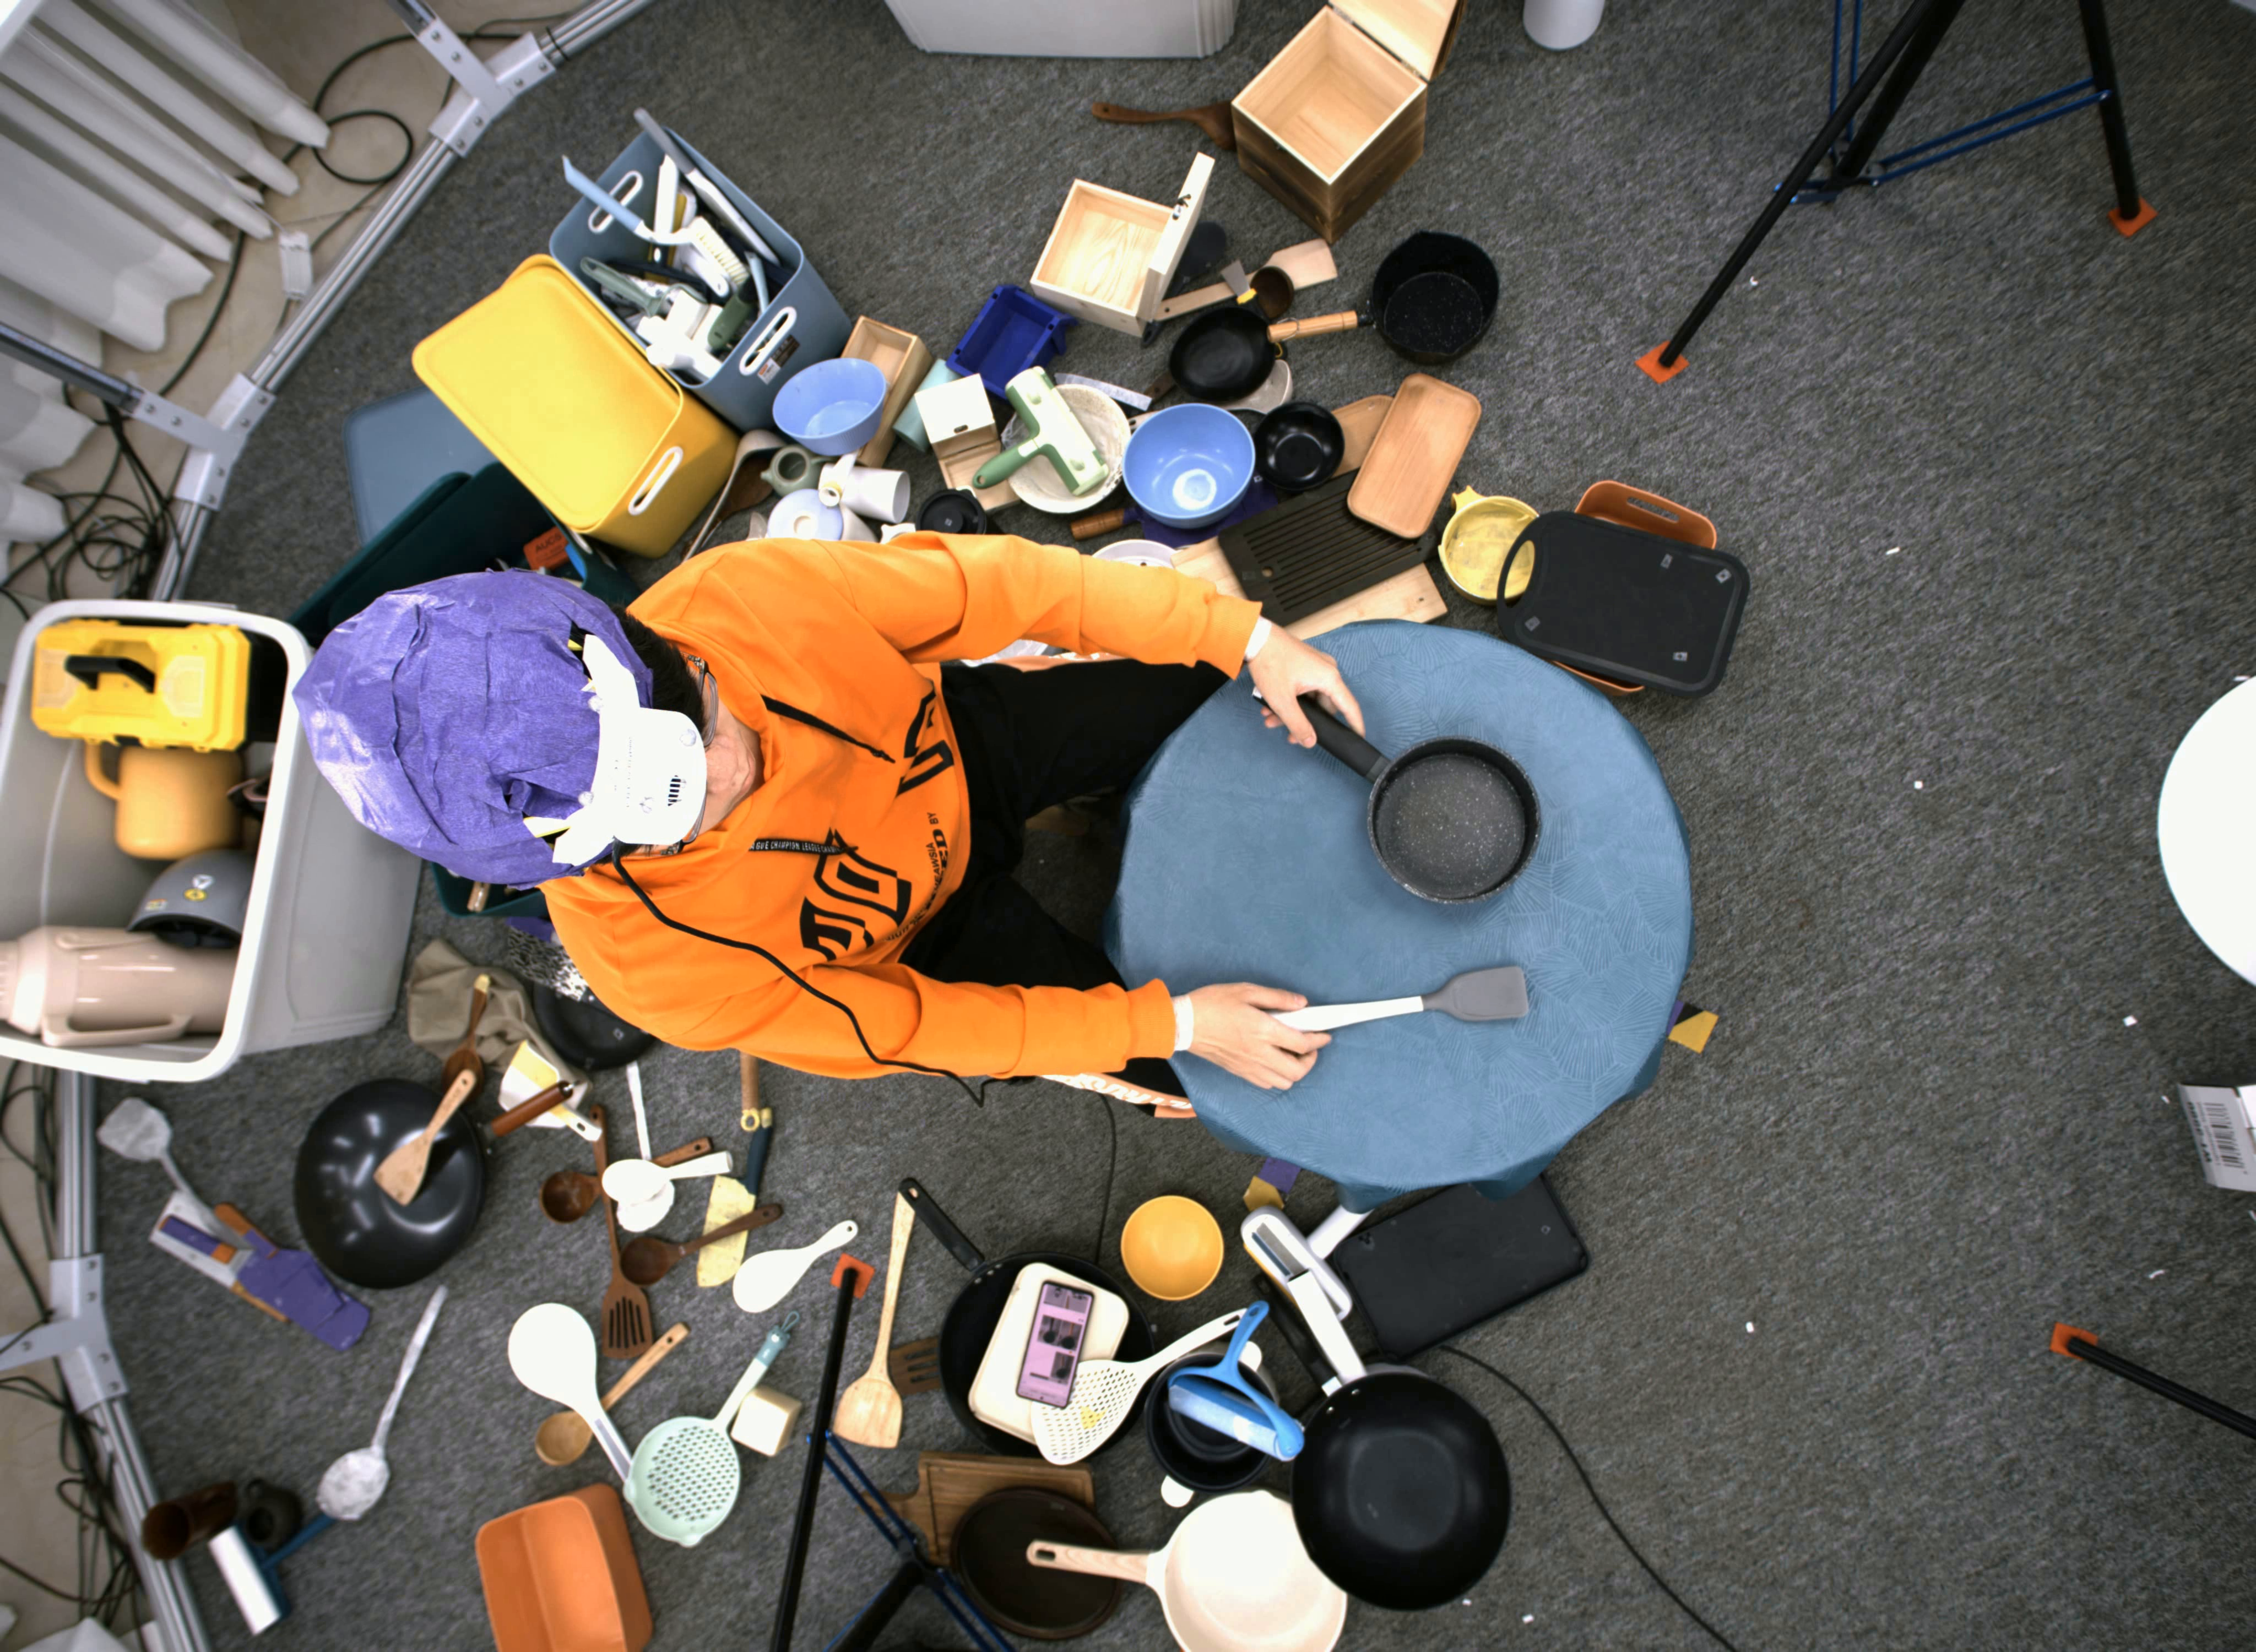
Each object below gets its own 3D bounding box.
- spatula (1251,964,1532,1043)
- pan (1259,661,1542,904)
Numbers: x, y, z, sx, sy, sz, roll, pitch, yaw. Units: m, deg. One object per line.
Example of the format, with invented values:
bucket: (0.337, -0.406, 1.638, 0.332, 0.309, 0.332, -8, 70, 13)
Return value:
spatula: (0.271, 0.188, 1.437, 0.289, 0.032, 0.058, -10, 76, 11)
pan: (0.271, -0.054, 1.423, 0.328, 0.086, 0.172, 39, 92, 9)
